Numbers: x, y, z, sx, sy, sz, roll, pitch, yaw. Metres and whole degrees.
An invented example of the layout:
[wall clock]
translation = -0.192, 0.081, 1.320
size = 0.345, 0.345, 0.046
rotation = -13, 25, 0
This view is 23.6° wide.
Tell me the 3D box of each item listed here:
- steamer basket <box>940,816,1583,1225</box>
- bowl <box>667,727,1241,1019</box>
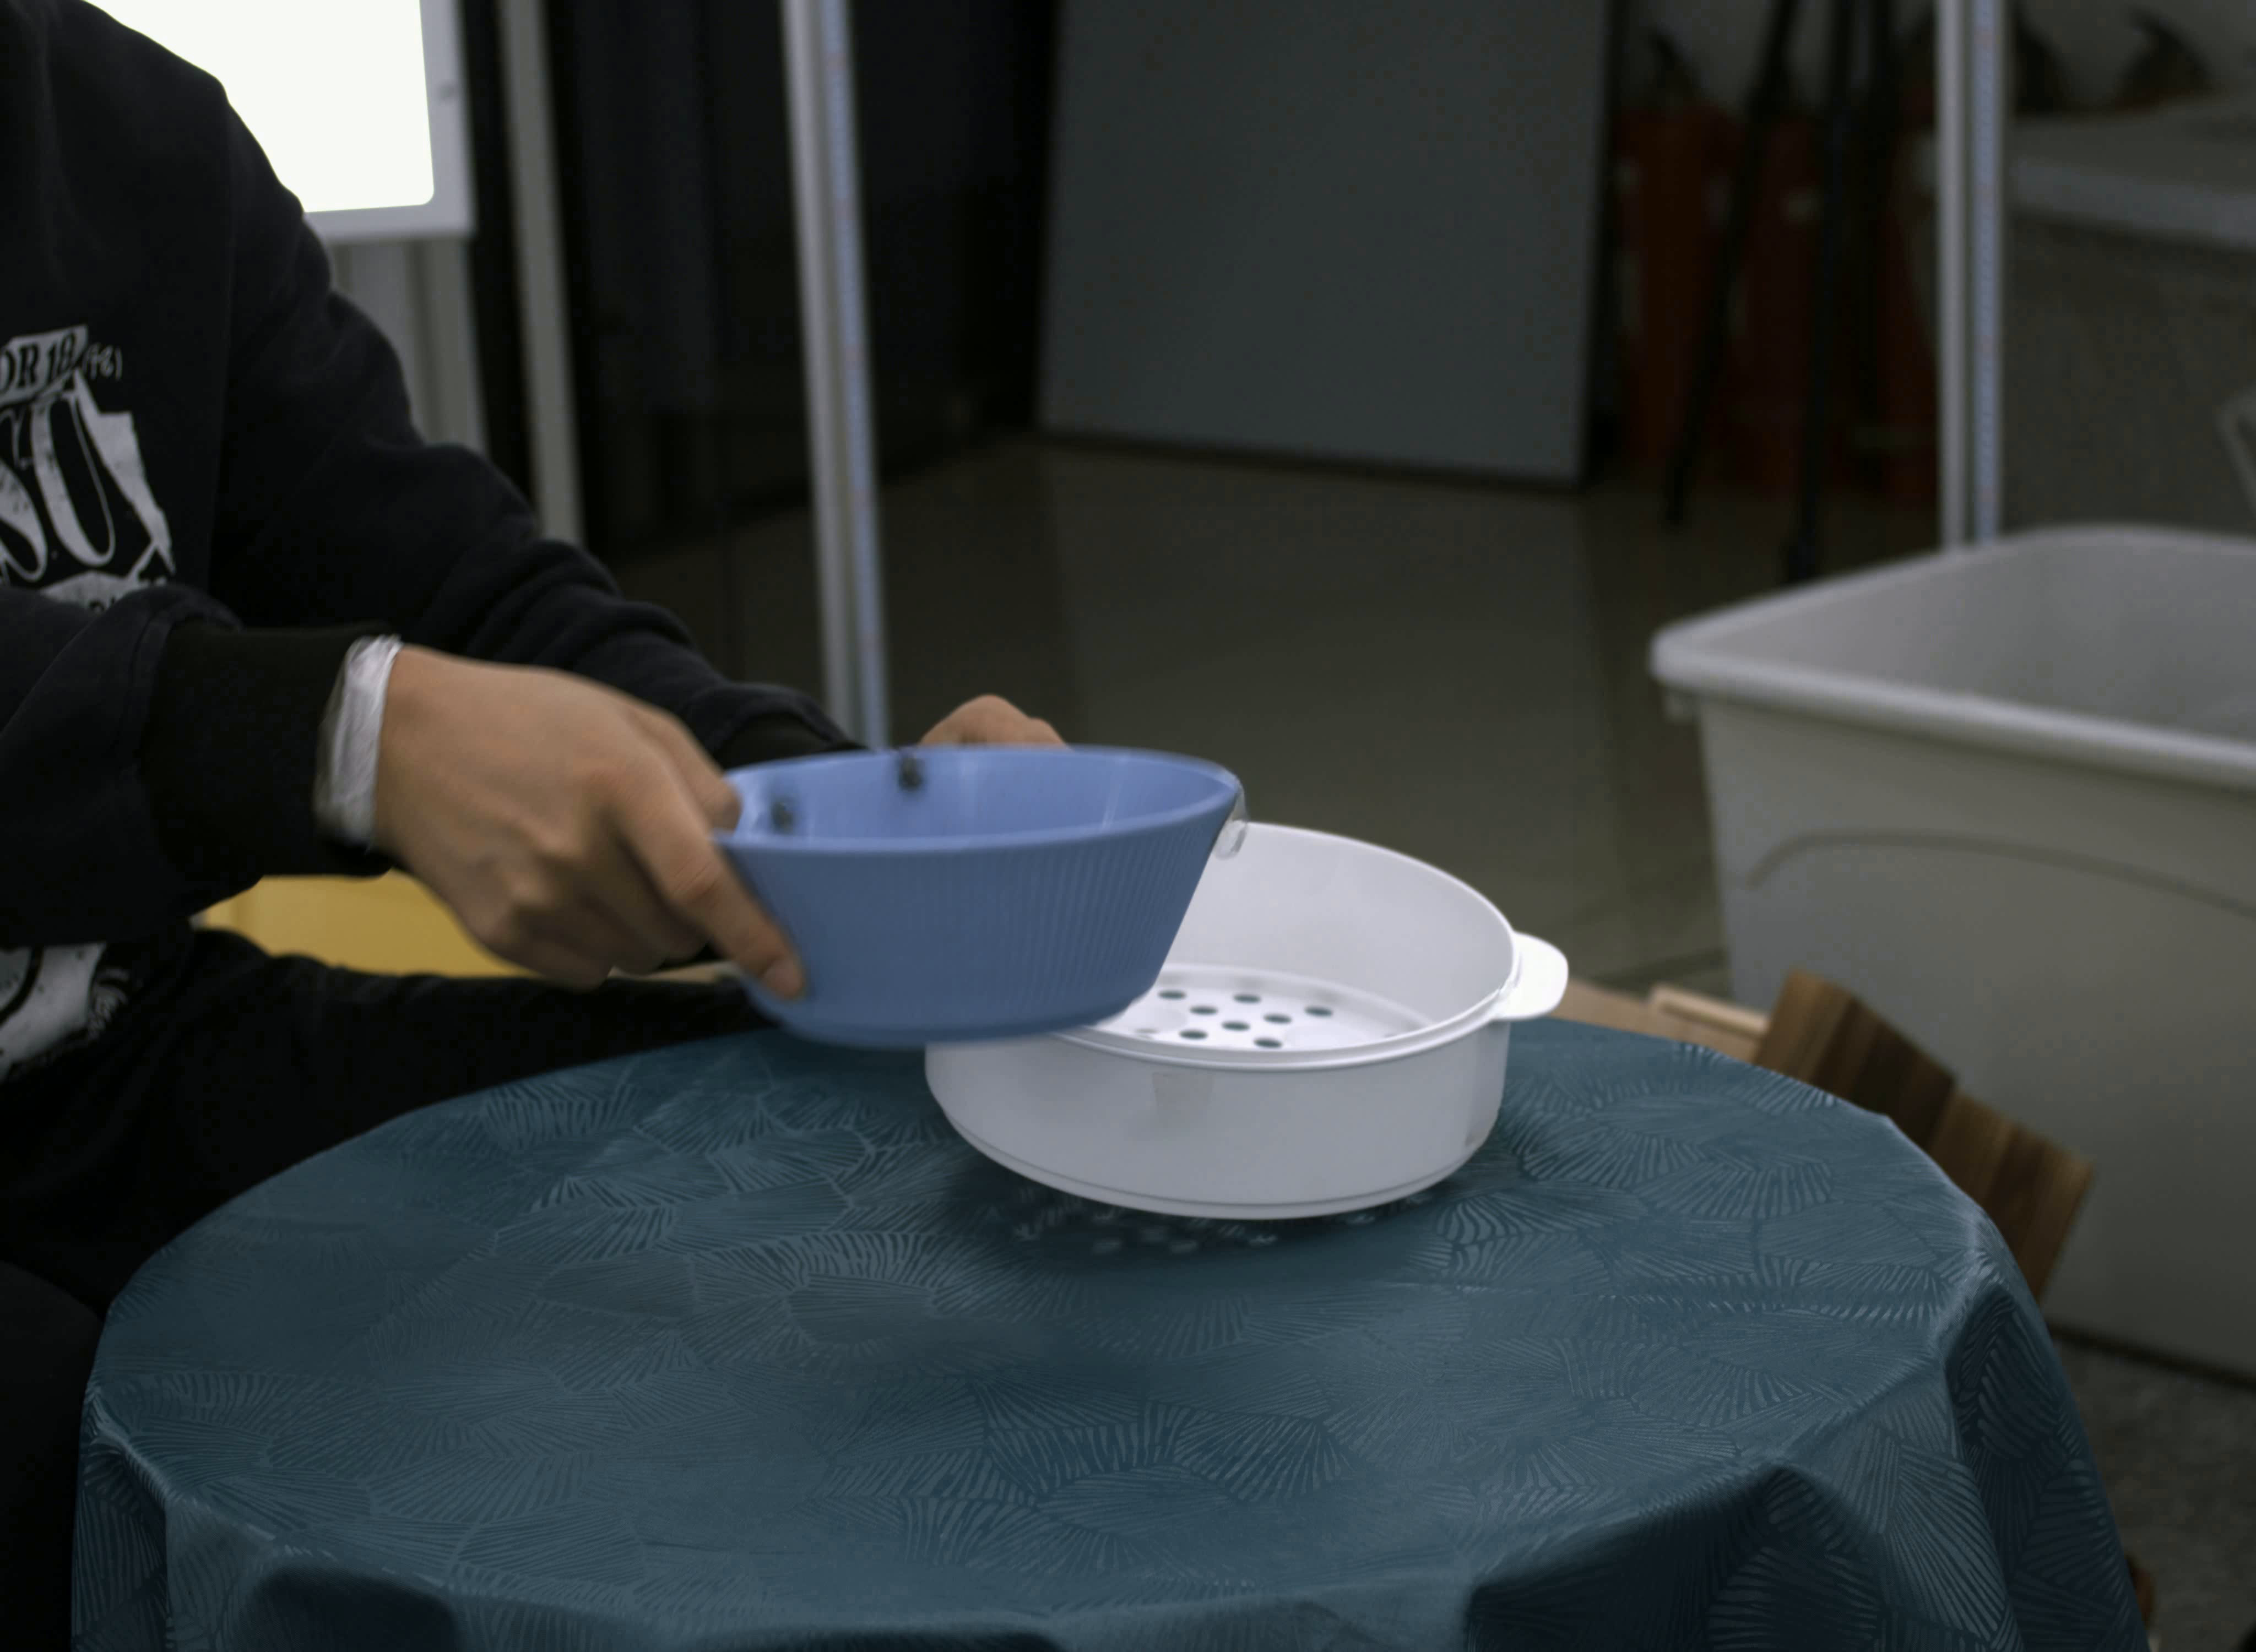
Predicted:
[steamer basket]
translation = 0.035, 0.064, 1.783
size = 0.228, 0.070, 0.201
rotation = 7, 22, 7
[bowl]
translation = -0.051, 0.014, 1.627
size = 0.174, 0.071, 0.176
rotation = -3, 8, -1
